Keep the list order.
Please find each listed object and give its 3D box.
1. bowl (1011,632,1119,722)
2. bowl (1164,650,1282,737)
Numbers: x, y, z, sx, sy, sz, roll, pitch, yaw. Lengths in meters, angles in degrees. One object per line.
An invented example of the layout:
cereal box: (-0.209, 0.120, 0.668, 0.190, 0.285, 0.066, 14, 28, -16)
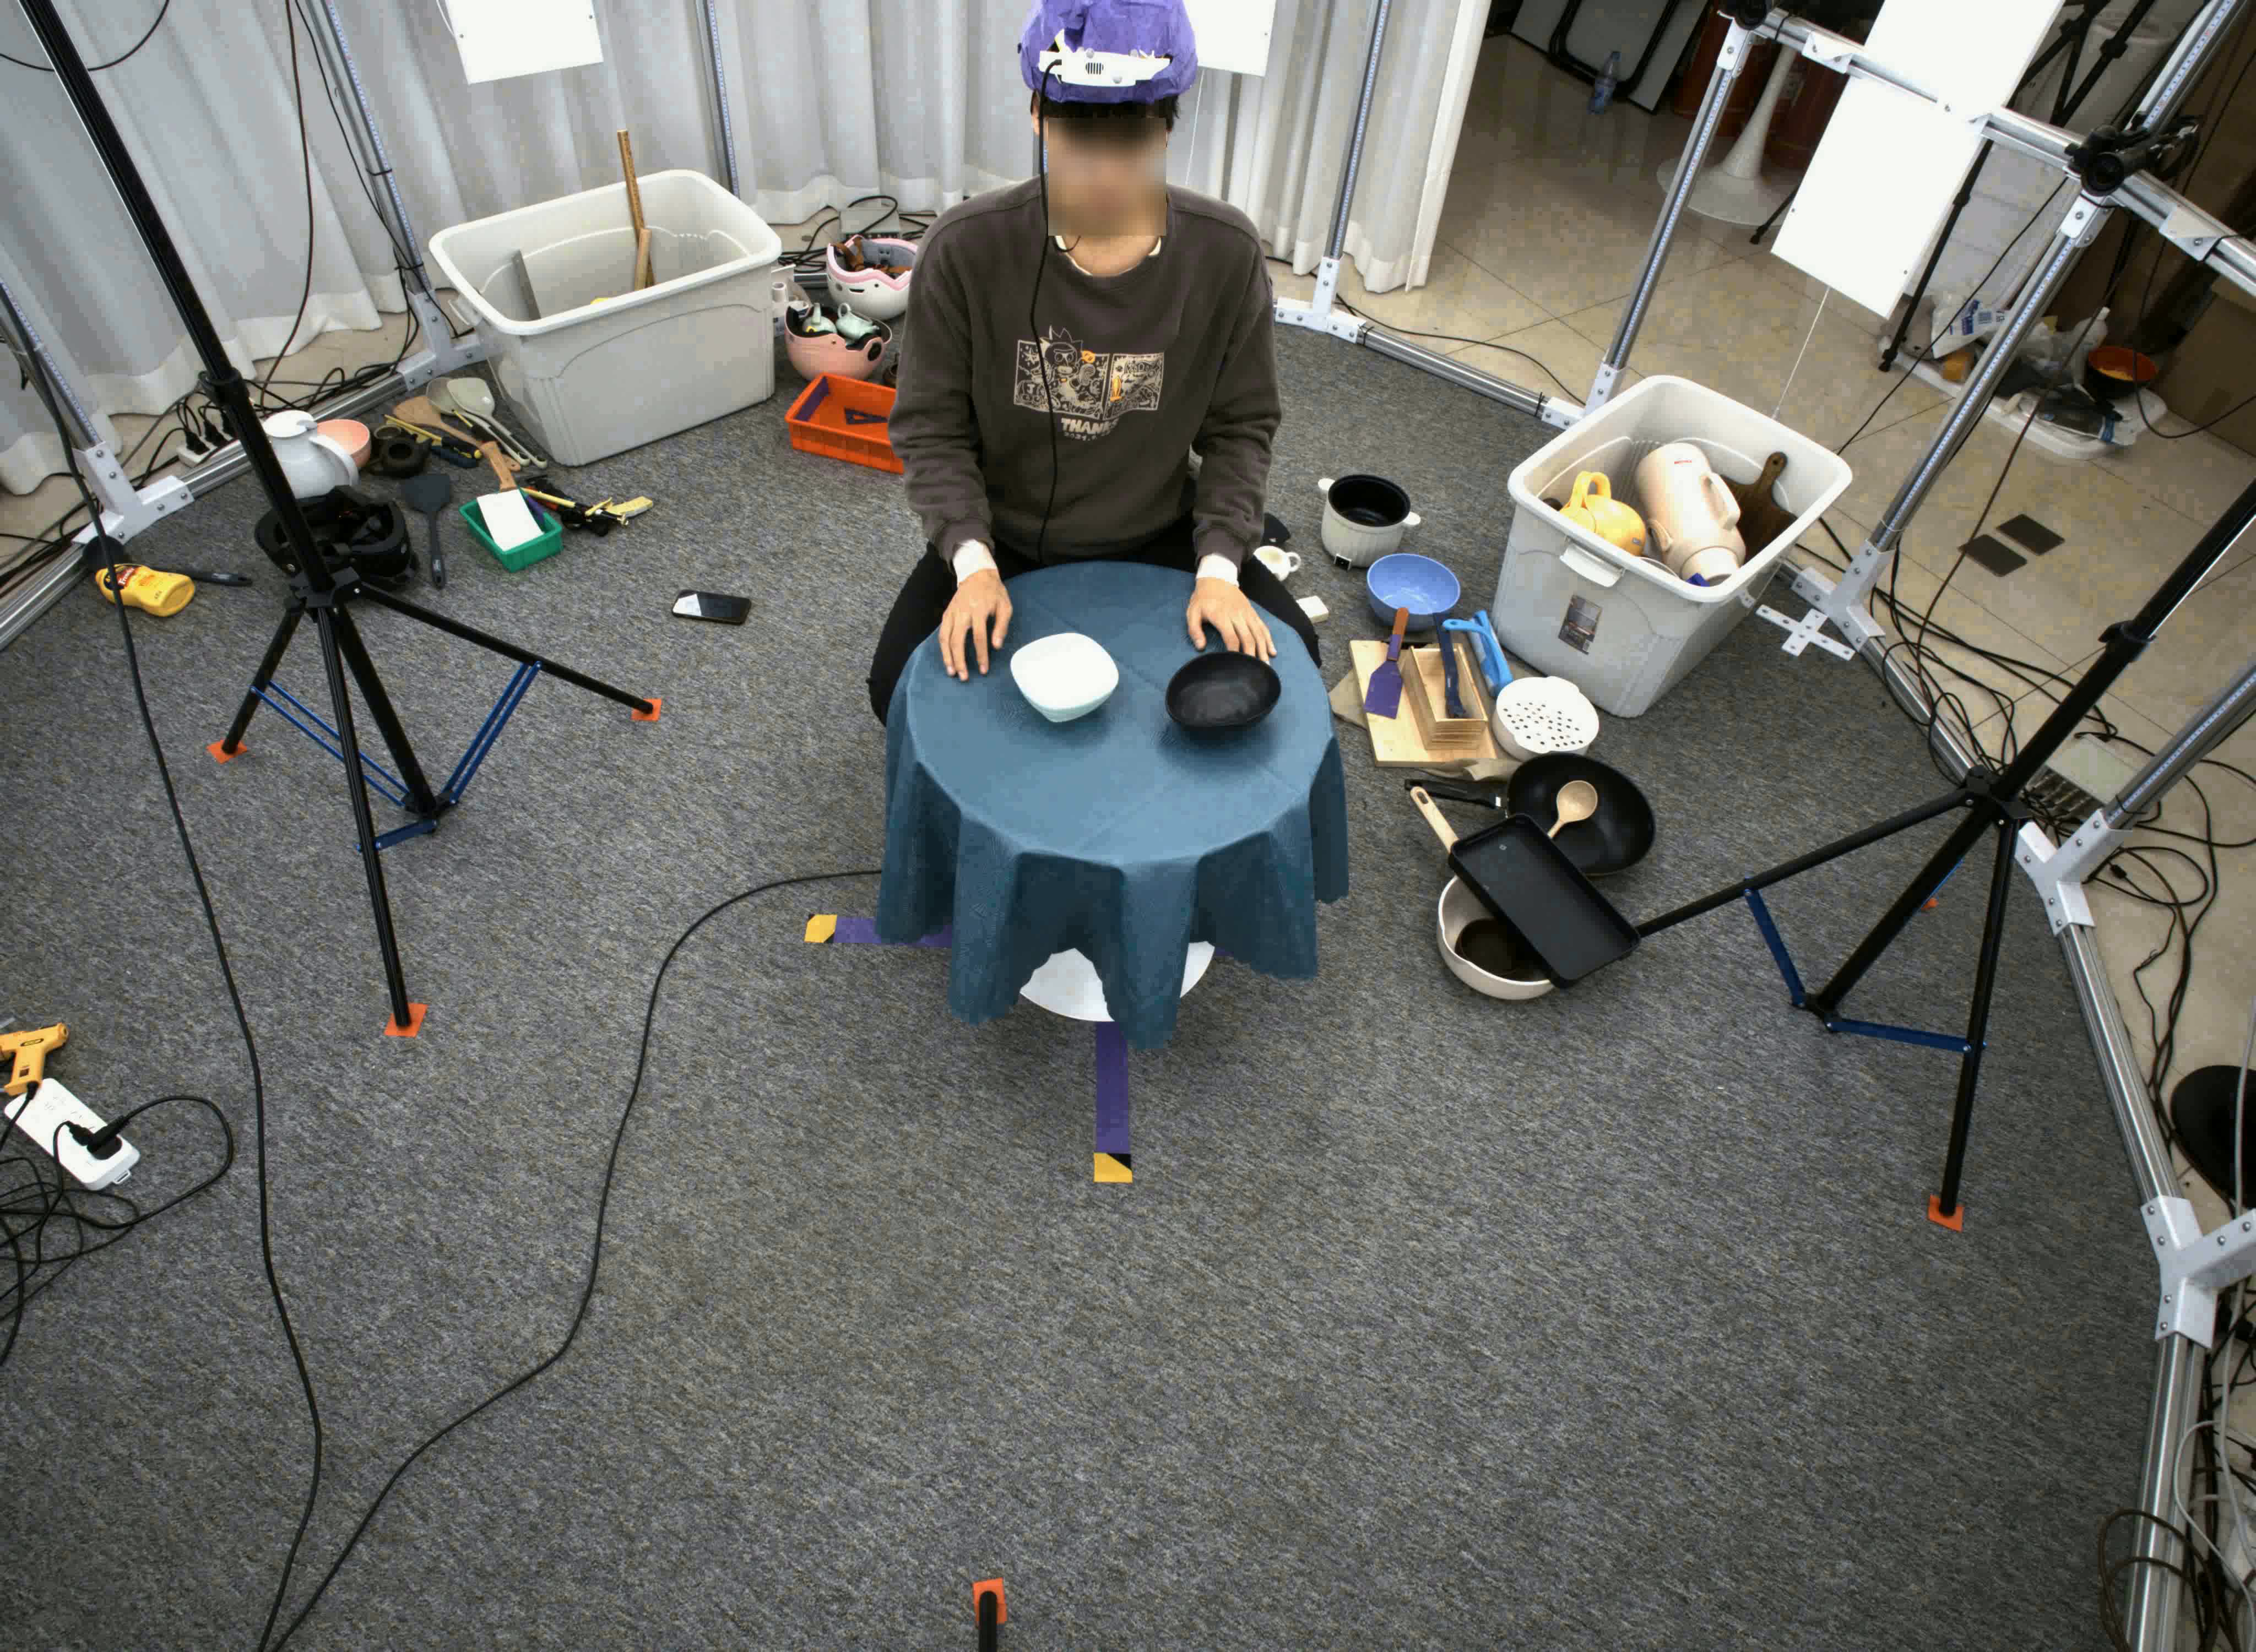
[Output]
bowl: (-0.089, -0.200, 1.796, 0.151, 0.057, 0.155, 2, 52, -3)
bowl: (0.131, -0.171, 1.781, 0.171, 0.065, 0.140, -24, 54, -21)
